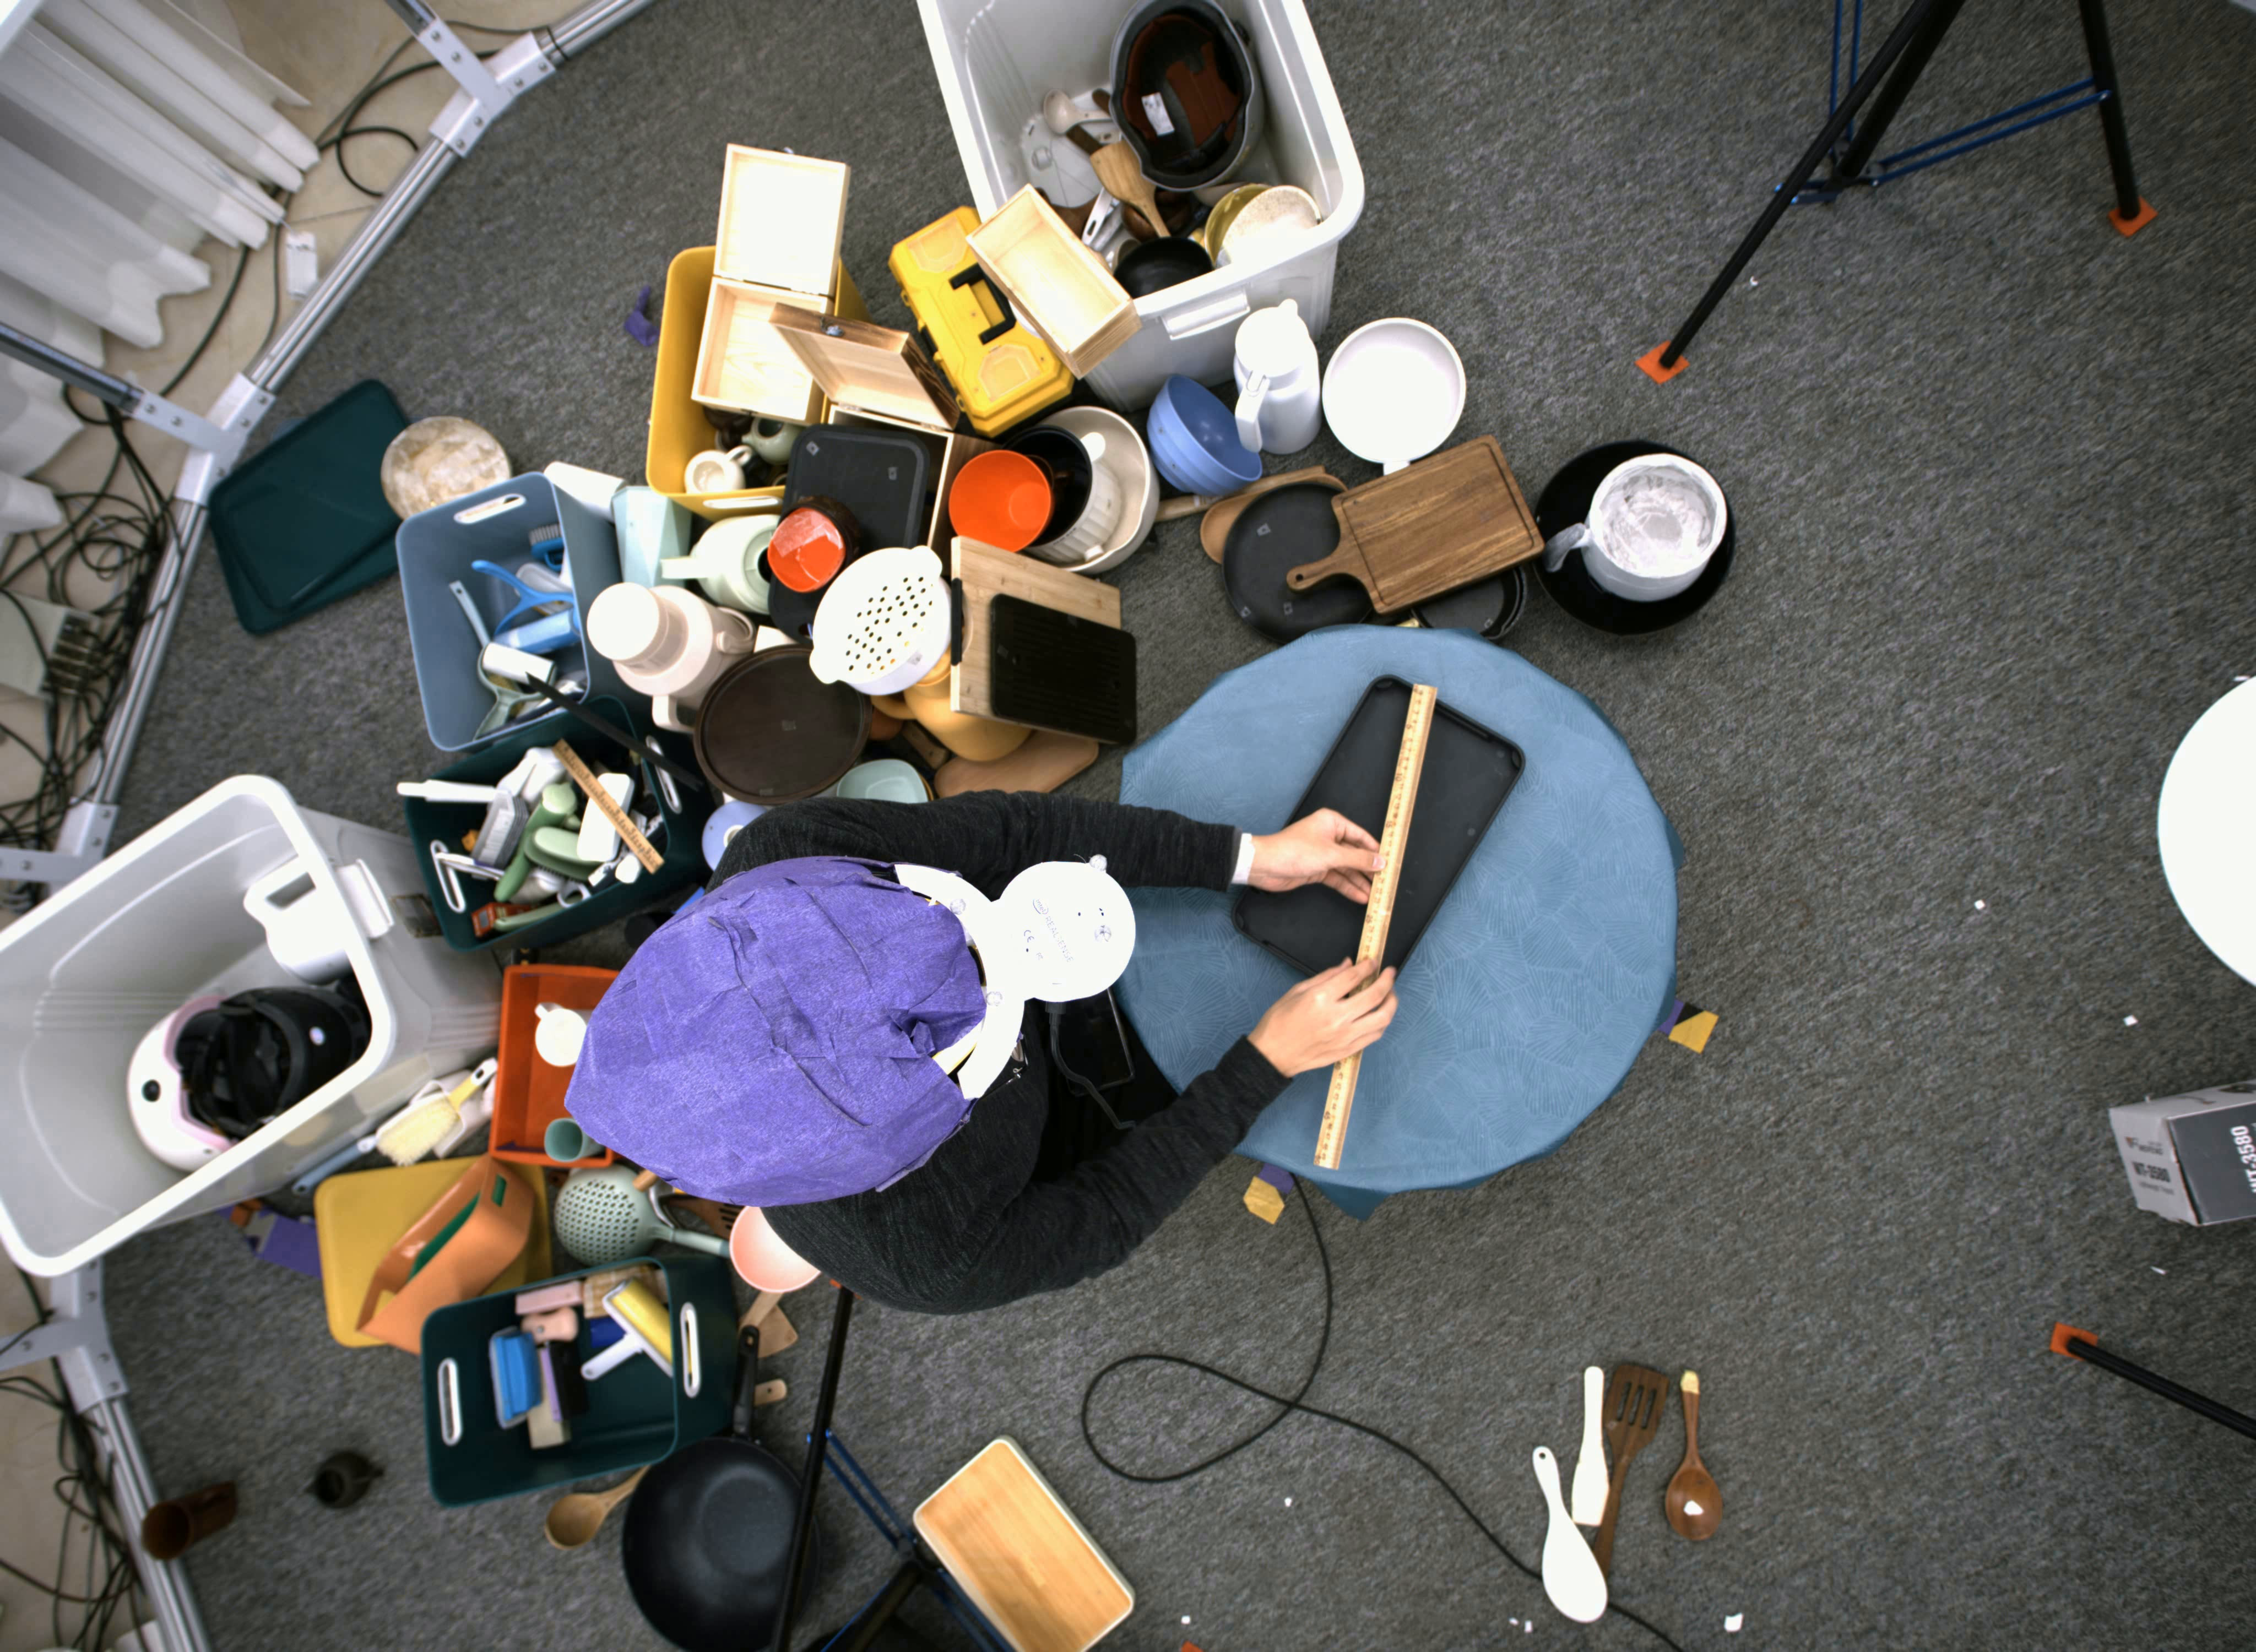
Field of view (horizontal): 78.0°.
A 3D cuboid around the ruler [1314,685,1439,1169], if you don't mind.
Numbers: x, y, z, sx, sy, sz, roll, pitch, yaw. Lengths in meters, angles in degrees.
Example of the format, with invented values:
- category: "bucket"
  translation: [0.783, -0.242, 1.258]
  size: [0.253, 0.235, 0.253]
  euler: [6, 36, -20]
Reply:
- category: "ruler"
  translation: [0.252, 0.095, 1.395]
  size: [0.027, 0.006, 0.498]
  euler: [12, 86, 17]

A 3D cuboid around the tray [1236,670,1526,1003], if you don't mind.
- category: "tray"
  translation: [0.264, 0.010, 1.447]
  size: [0.184, 0.037, 0.318]
  euler: [30, 93, 11]
